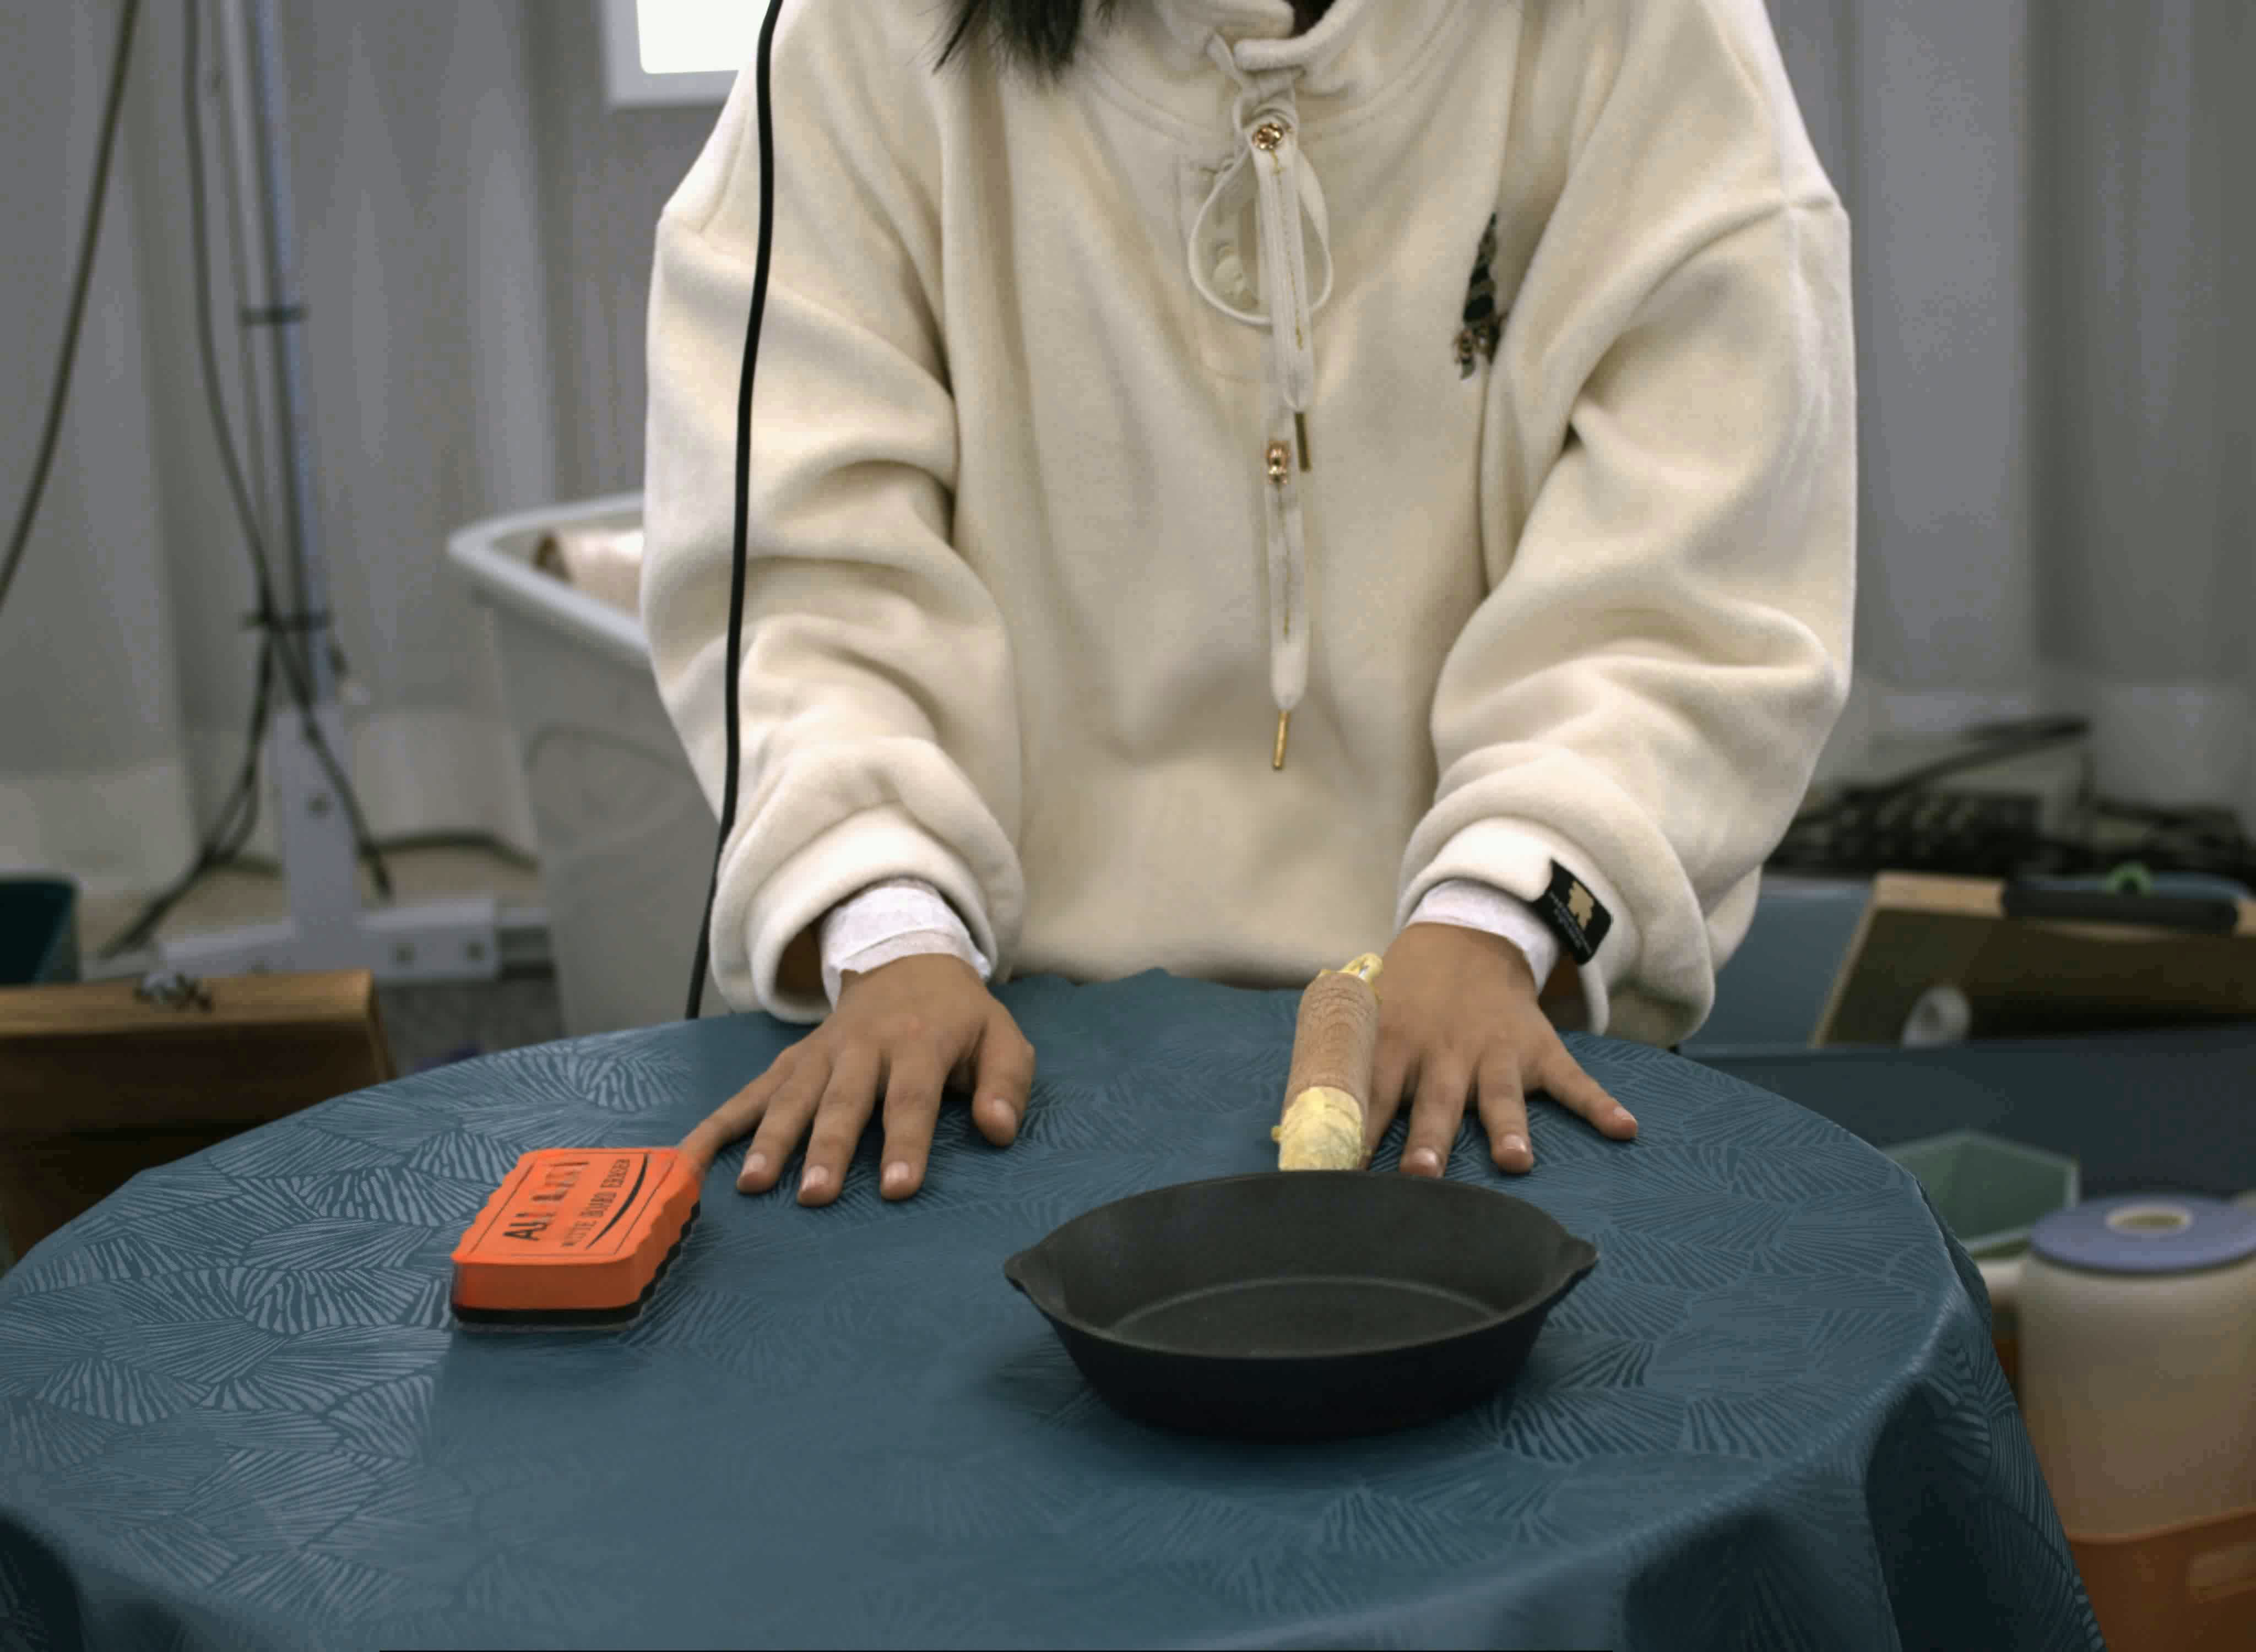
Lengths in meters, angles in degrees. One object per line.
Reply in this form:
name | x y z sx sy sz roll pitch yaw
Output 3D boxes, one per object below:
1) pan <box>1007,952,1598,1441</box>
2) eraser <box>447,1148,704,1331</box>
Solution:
pan | 0.058 0.107 1.633 0.168 0.049 0.326 -2 16 7
eraser | -0.167 0.125 1.662 0.059 0.023 0.108 0 15 9
